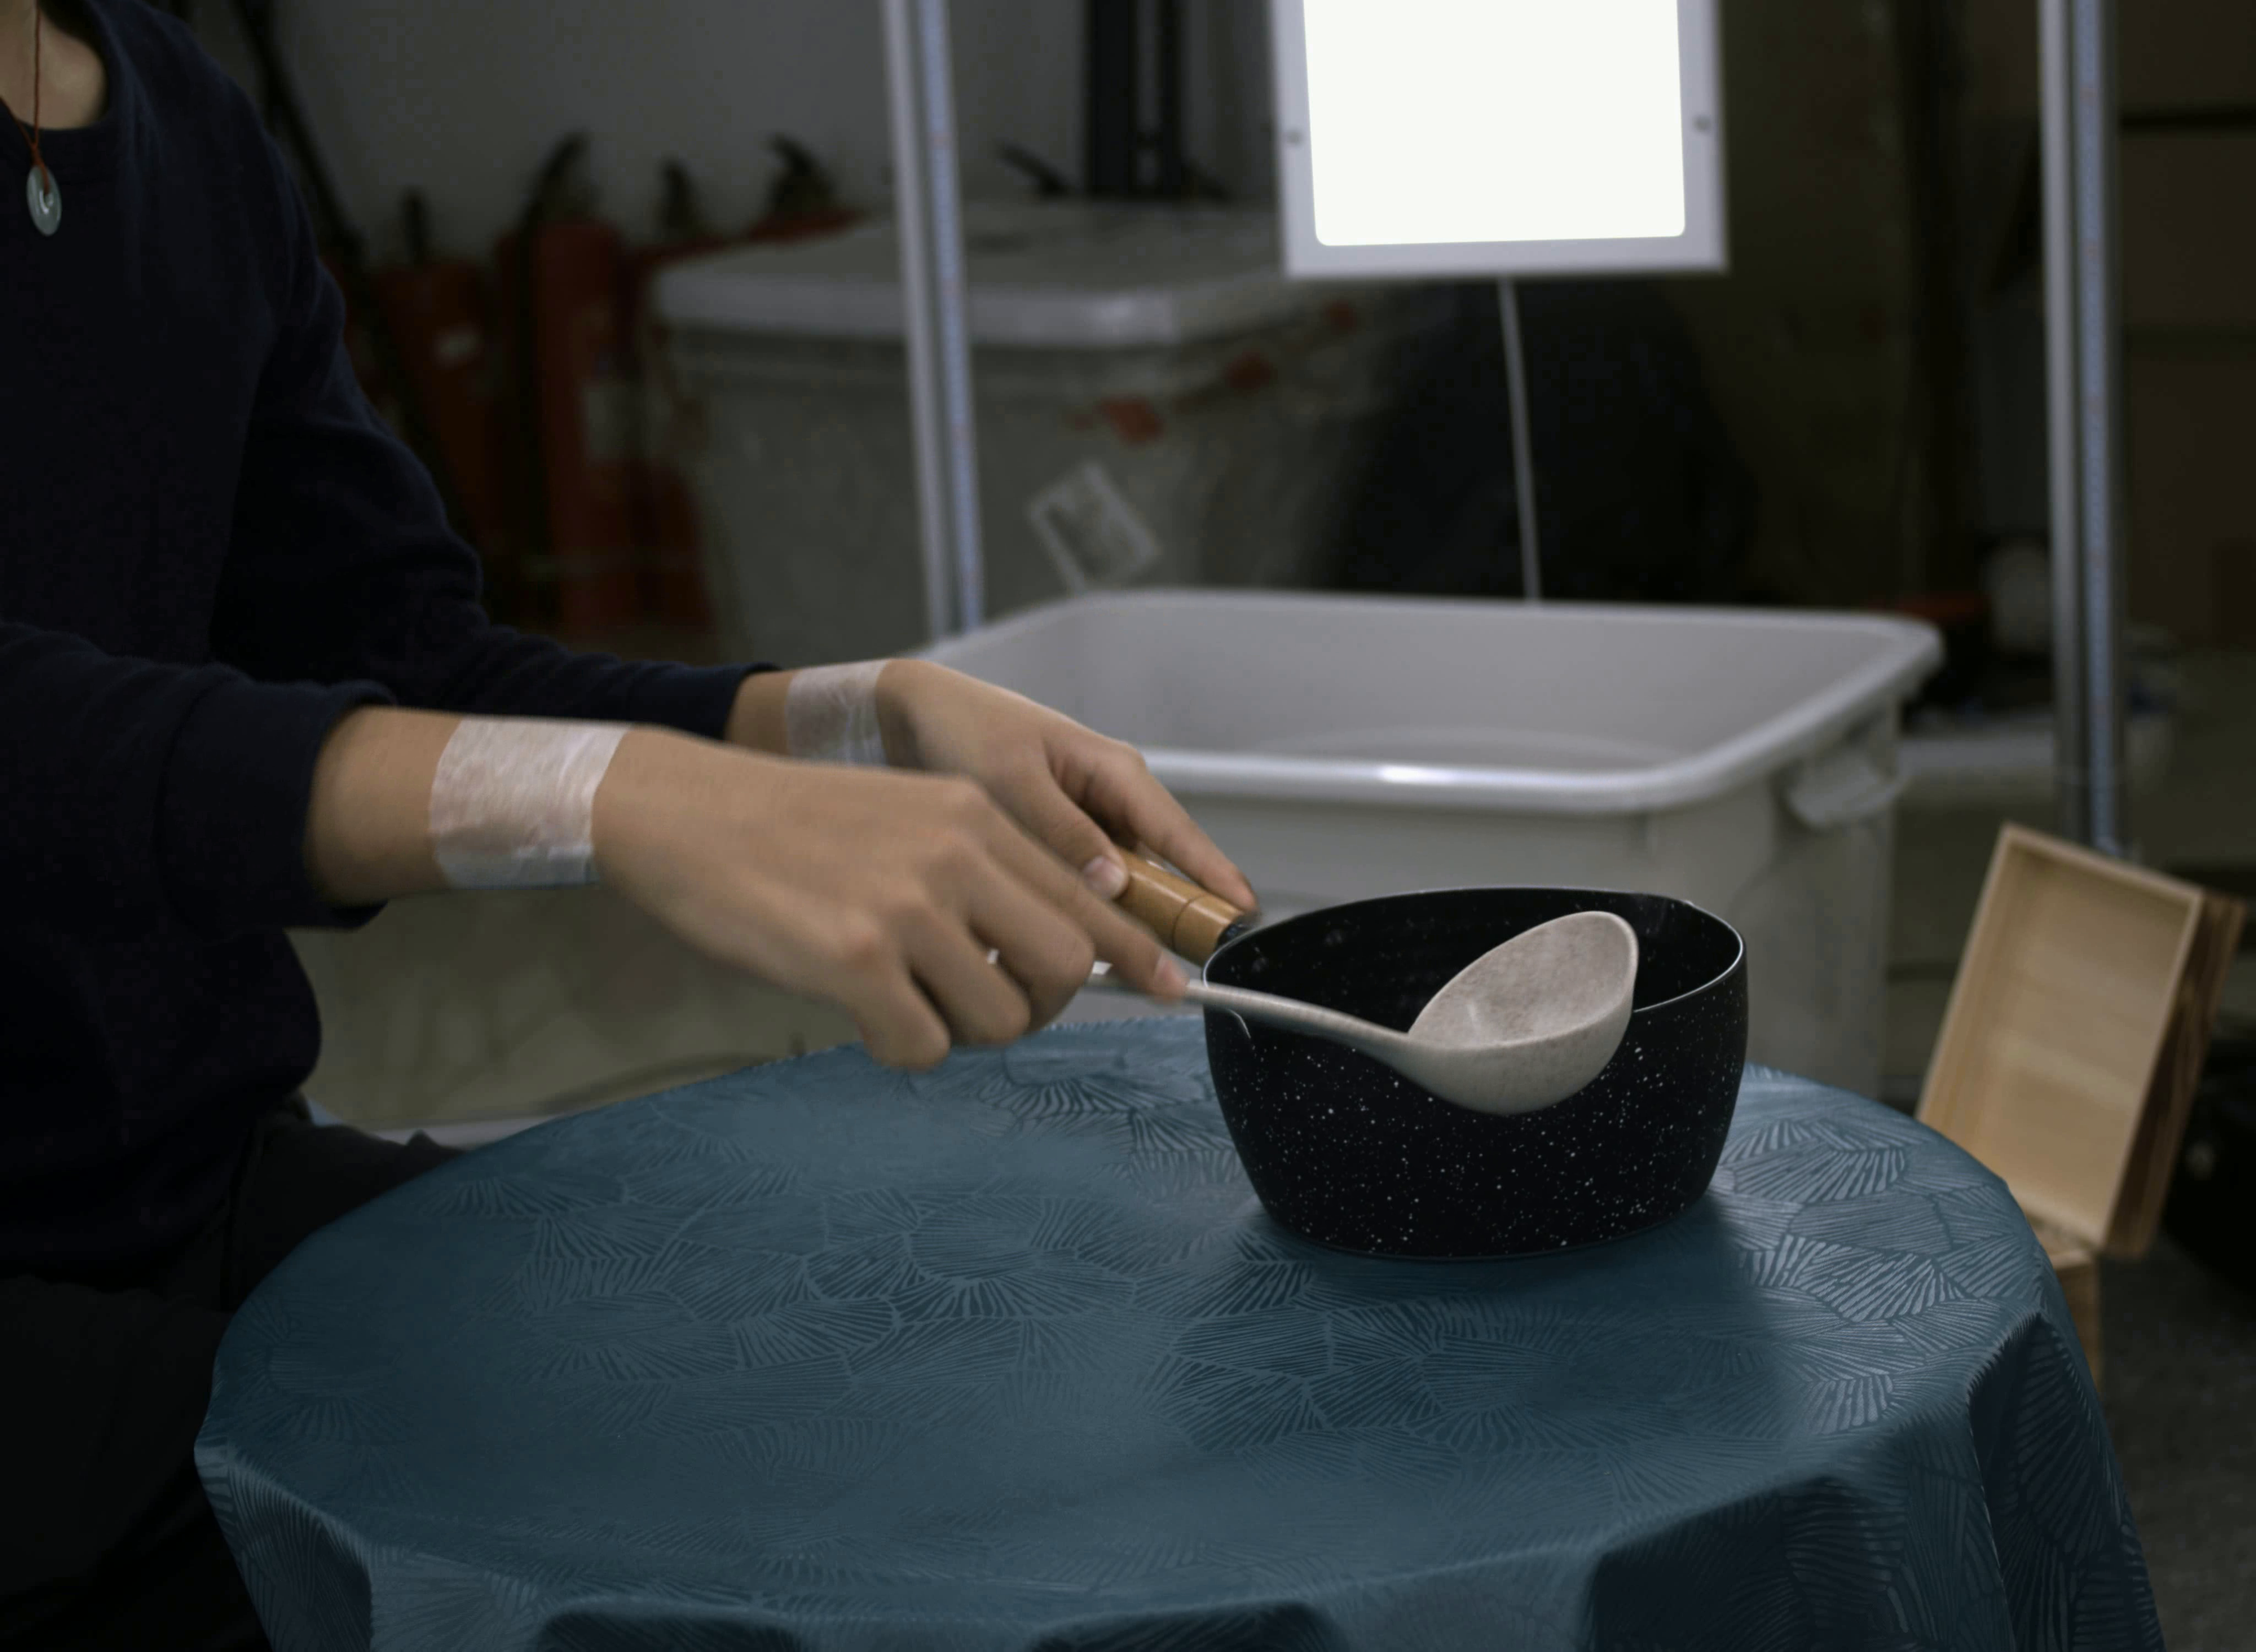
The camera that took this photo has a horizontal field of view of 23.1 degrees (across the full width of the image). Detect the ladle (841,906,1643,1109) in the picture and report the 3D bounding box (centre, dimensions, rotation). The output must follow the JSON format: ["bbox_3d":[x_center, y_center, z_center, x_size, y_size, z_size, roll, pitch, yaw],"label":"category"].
[{"bbox_3d":[0.036,0.032,1.637,0.269,0.069,0.091,14,-6,-32],"label":"ladle"}]

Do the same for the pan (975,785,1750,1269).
[{"bbox_3d":[0.064,0.062,1.907,0.202,0.108,0.350,-18,20,-39],"label":"pan"}]
